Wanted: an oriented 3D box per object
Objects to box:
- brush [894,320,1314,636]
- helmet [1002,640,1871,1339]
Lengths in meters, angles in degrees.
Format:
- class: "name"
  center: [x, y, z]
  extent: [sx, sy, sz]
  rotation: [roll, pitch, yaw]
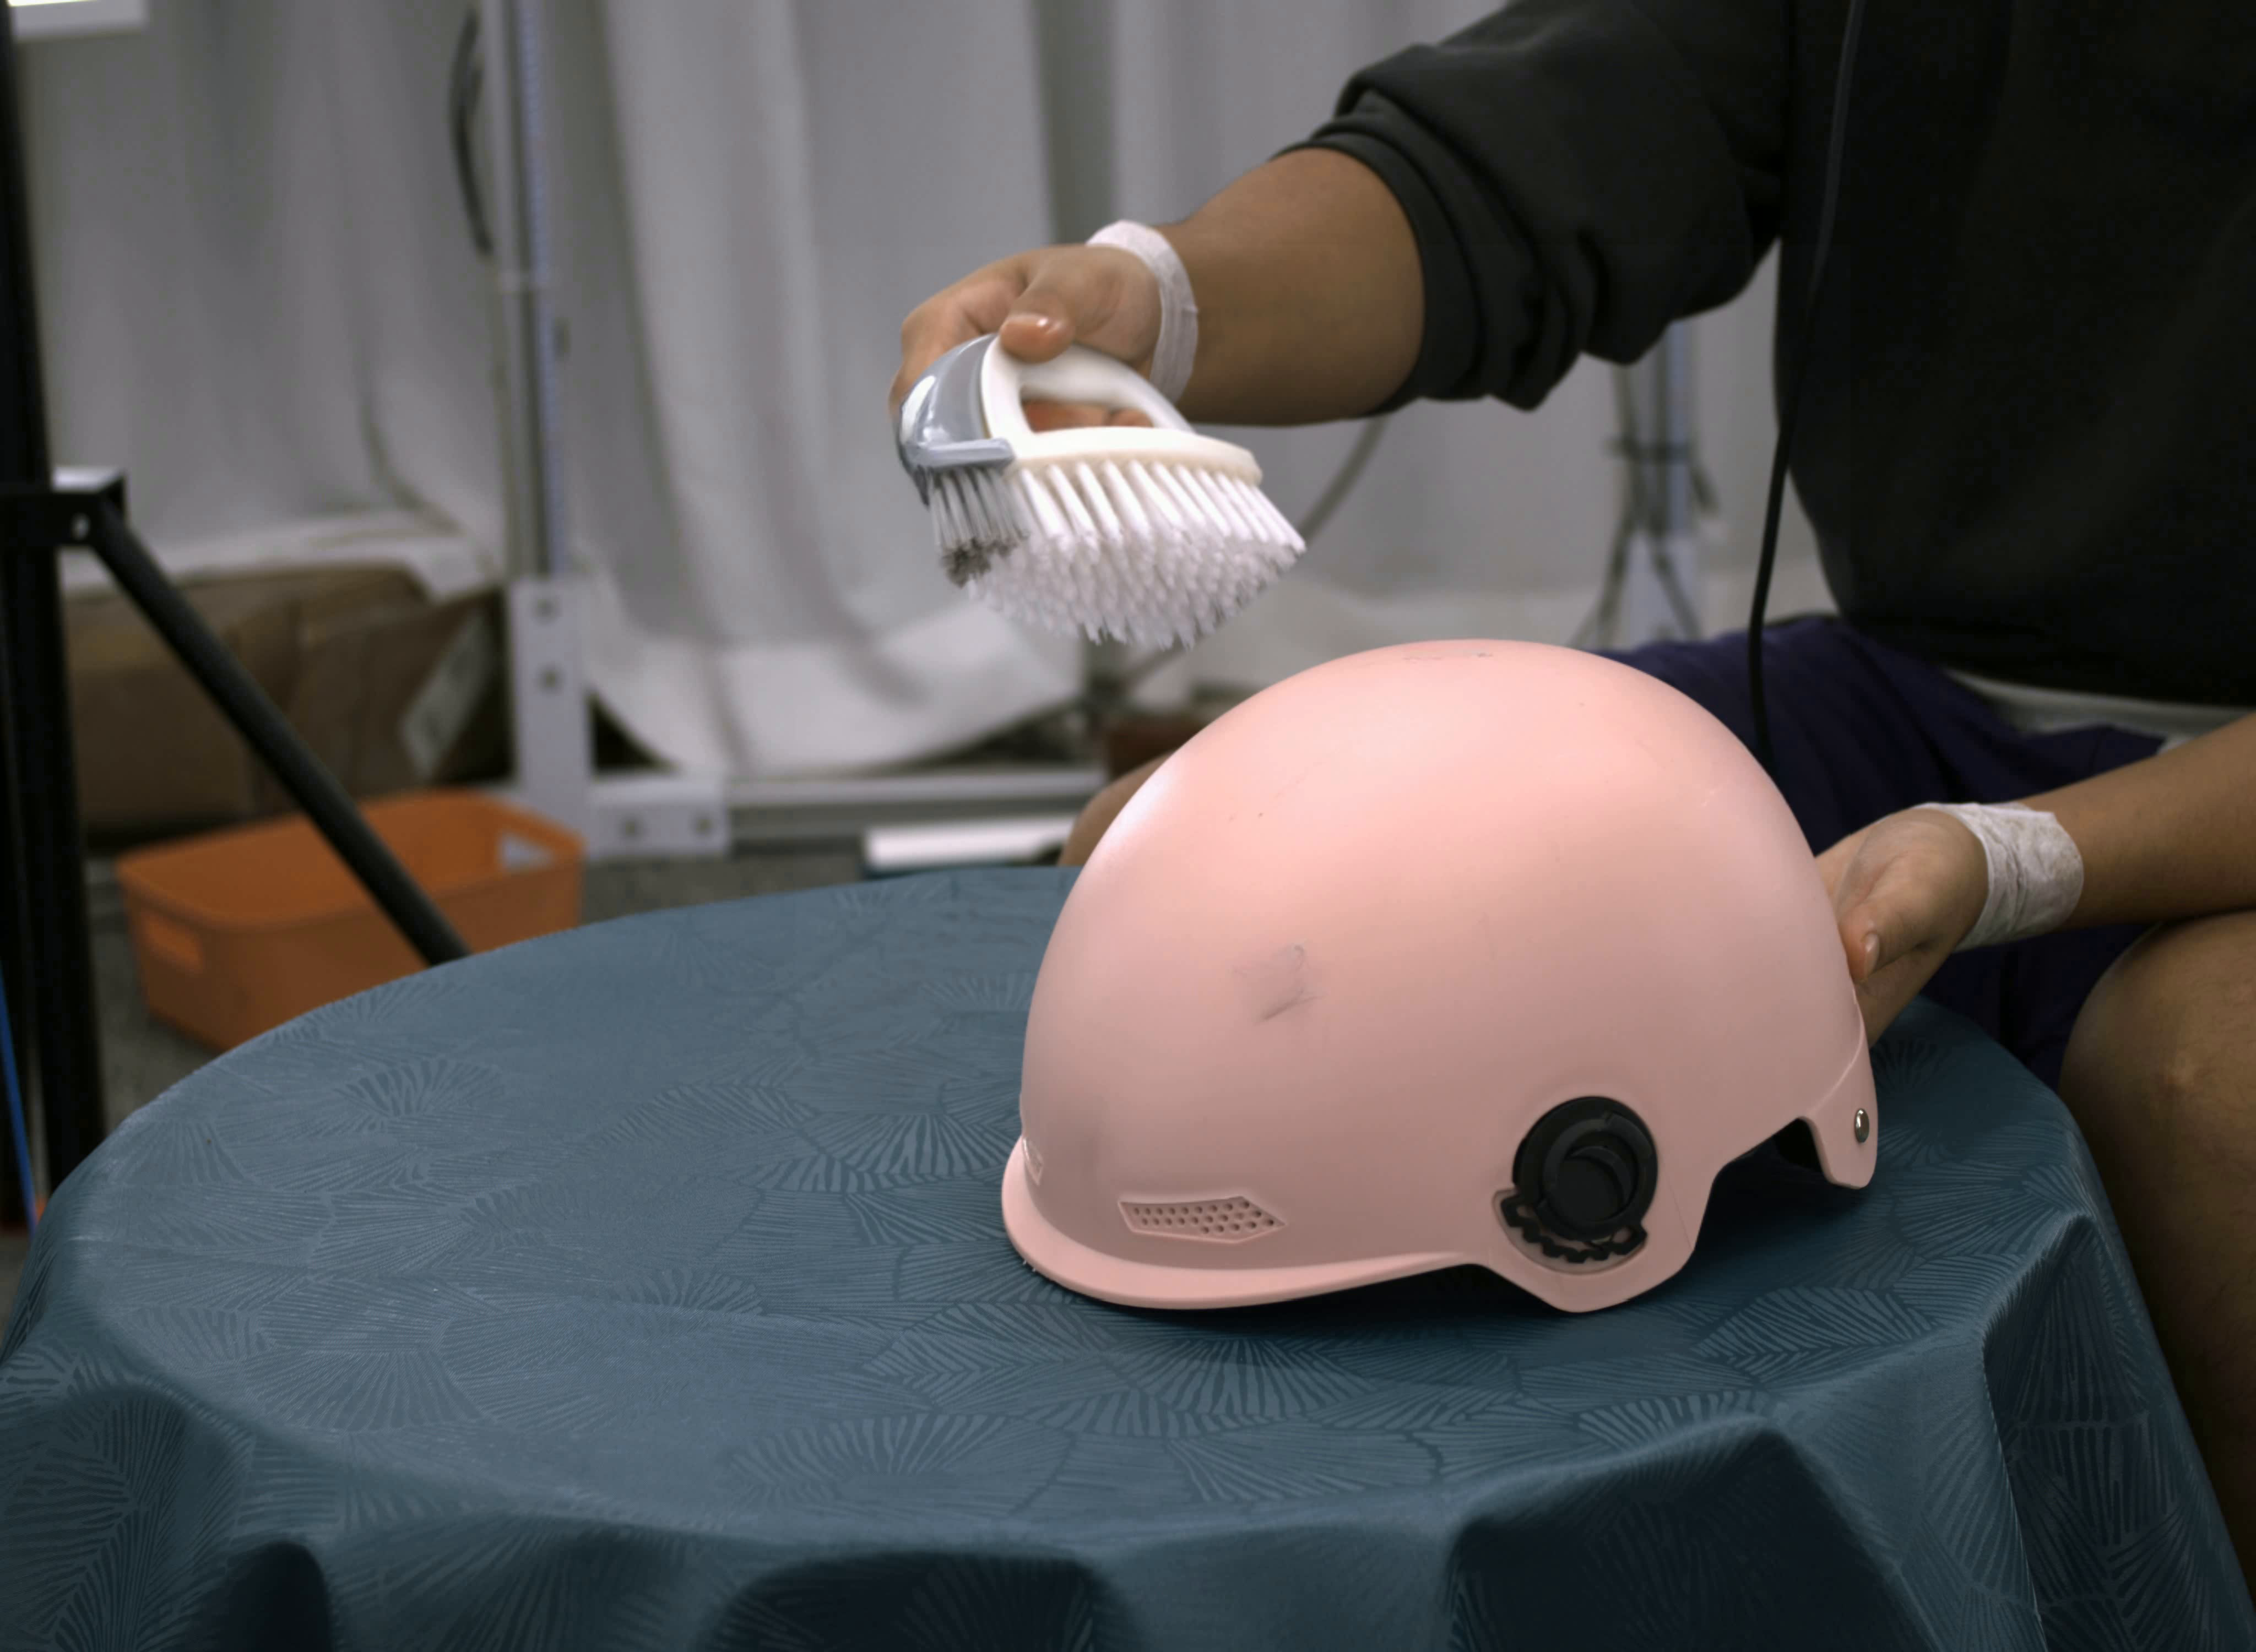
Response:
- class: "brush"
  center: [-0.021, -0.111, 1.589]
  extent: [0.062, 0.095, 0.171]
  rotation: [-40, -19, 27]
- class: "helmet"
  center: [0.082, 0.035, 1.526]
  extent: [0.261, 0.158, 0.239]
  rotation: [-19, 22, -29]
